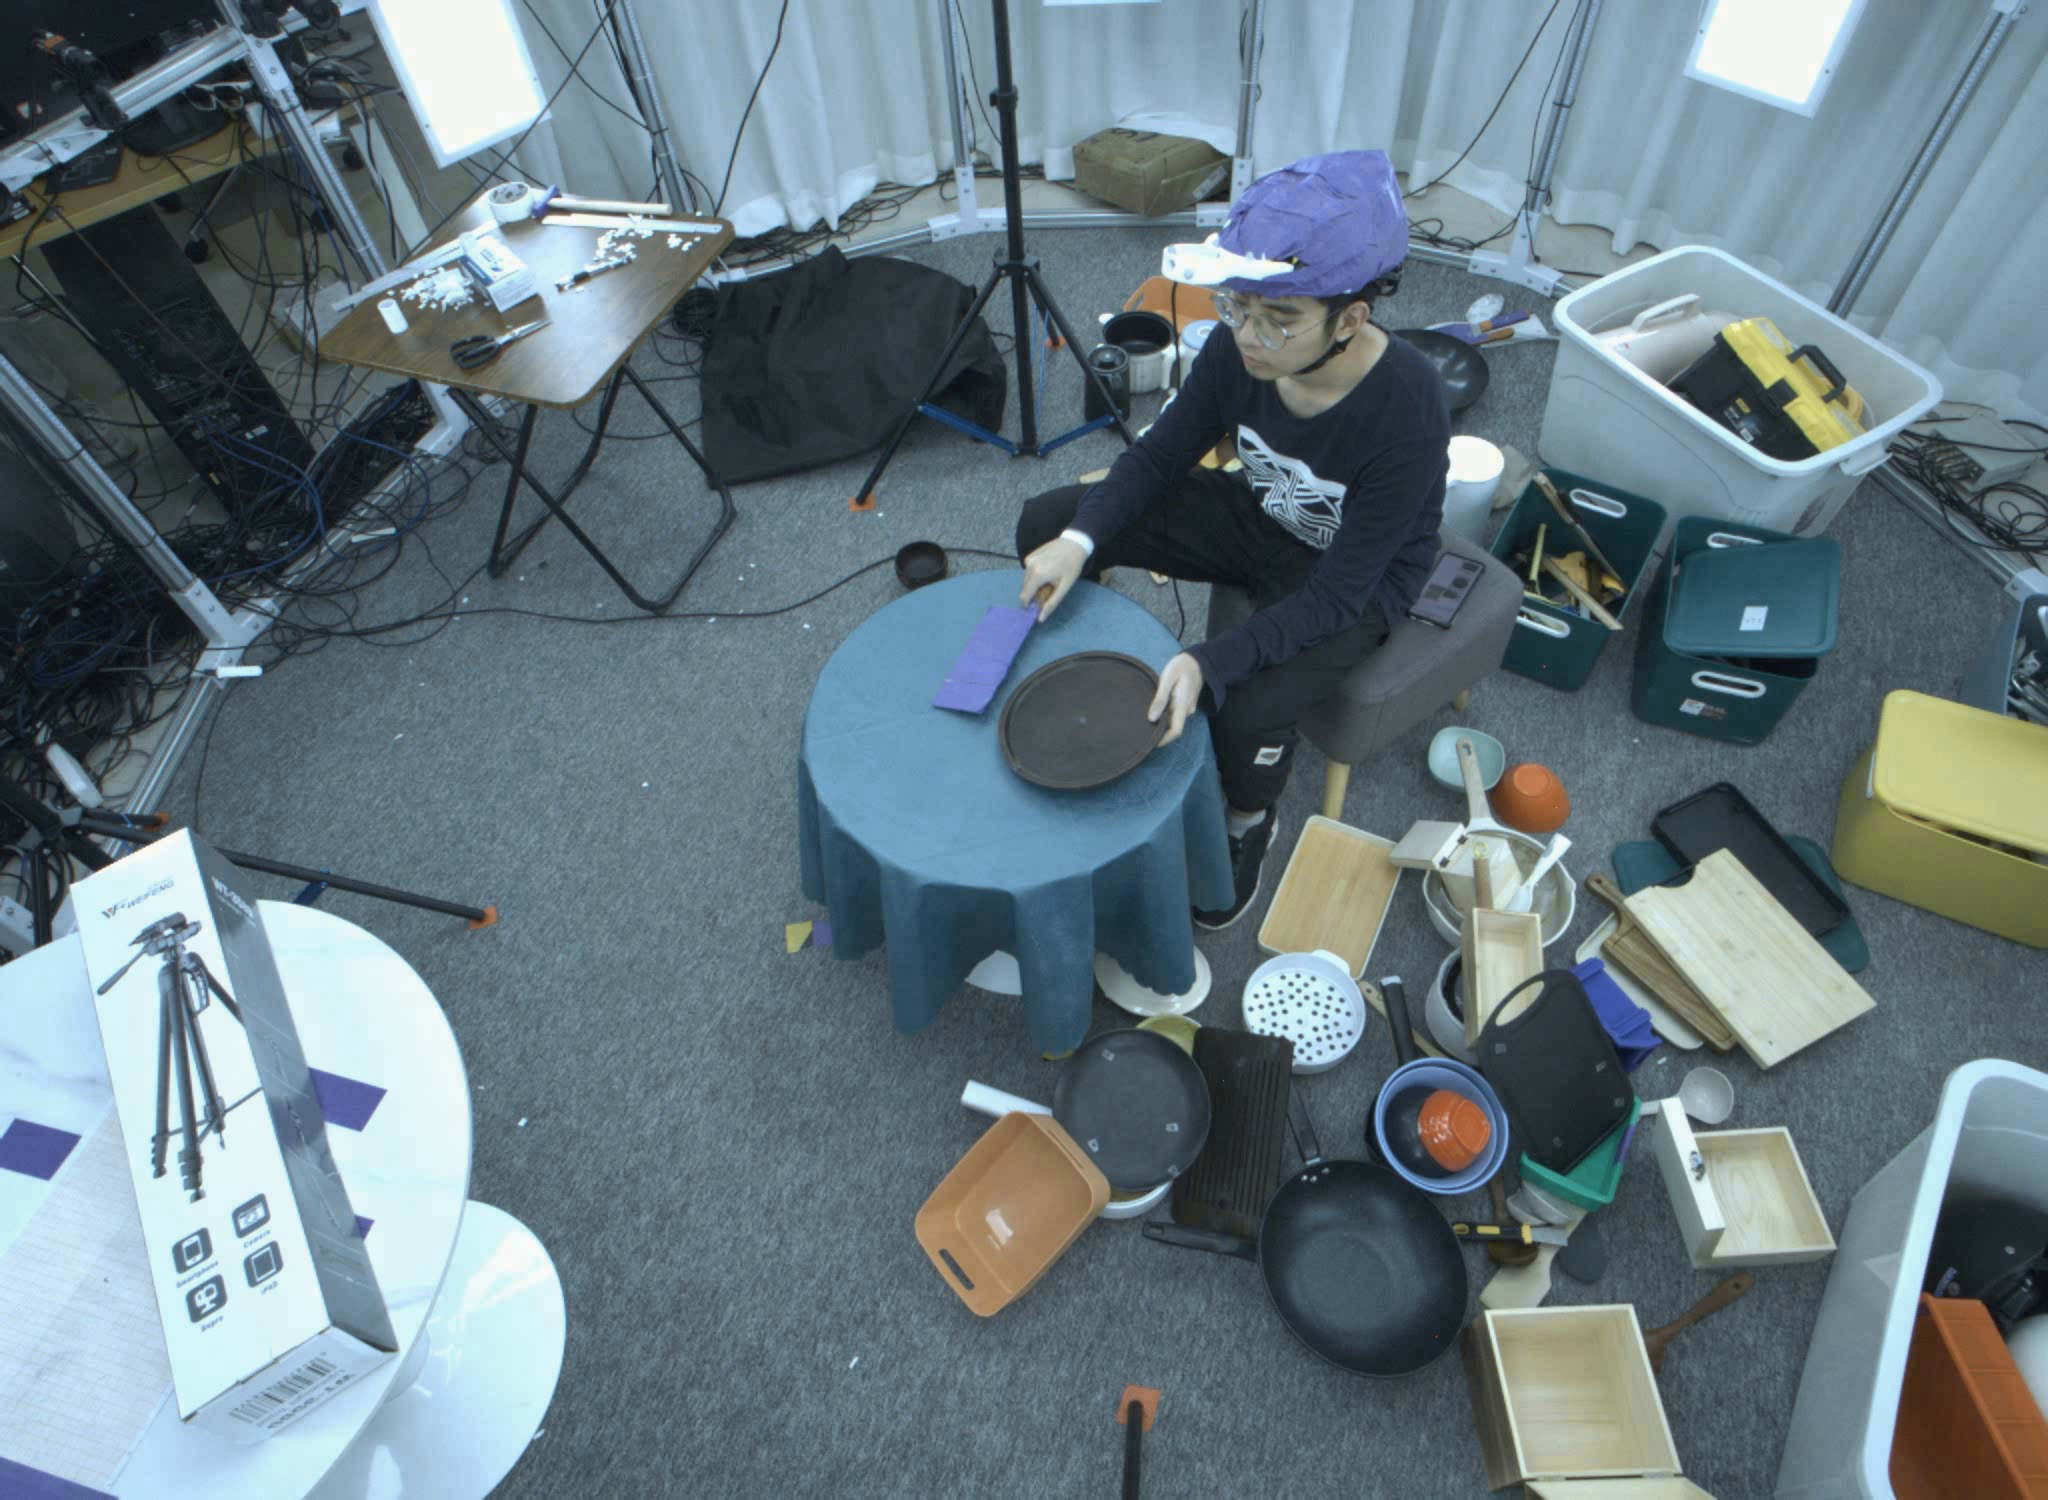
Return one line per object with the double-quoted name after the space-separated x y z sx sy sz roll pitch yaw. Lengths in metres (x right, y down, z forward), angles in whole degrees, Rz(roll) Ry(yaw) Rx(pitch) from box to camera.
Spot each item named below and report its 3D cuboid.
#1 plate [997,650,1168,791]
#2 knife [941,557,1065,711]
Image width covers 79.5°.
0.084 -0.044 1.781 0.253 0.029 0.252 -8 52 12 "plate"
-0.035 -0.184 1.894 0.102 0.033 0.315 11 55 26 "knife"
